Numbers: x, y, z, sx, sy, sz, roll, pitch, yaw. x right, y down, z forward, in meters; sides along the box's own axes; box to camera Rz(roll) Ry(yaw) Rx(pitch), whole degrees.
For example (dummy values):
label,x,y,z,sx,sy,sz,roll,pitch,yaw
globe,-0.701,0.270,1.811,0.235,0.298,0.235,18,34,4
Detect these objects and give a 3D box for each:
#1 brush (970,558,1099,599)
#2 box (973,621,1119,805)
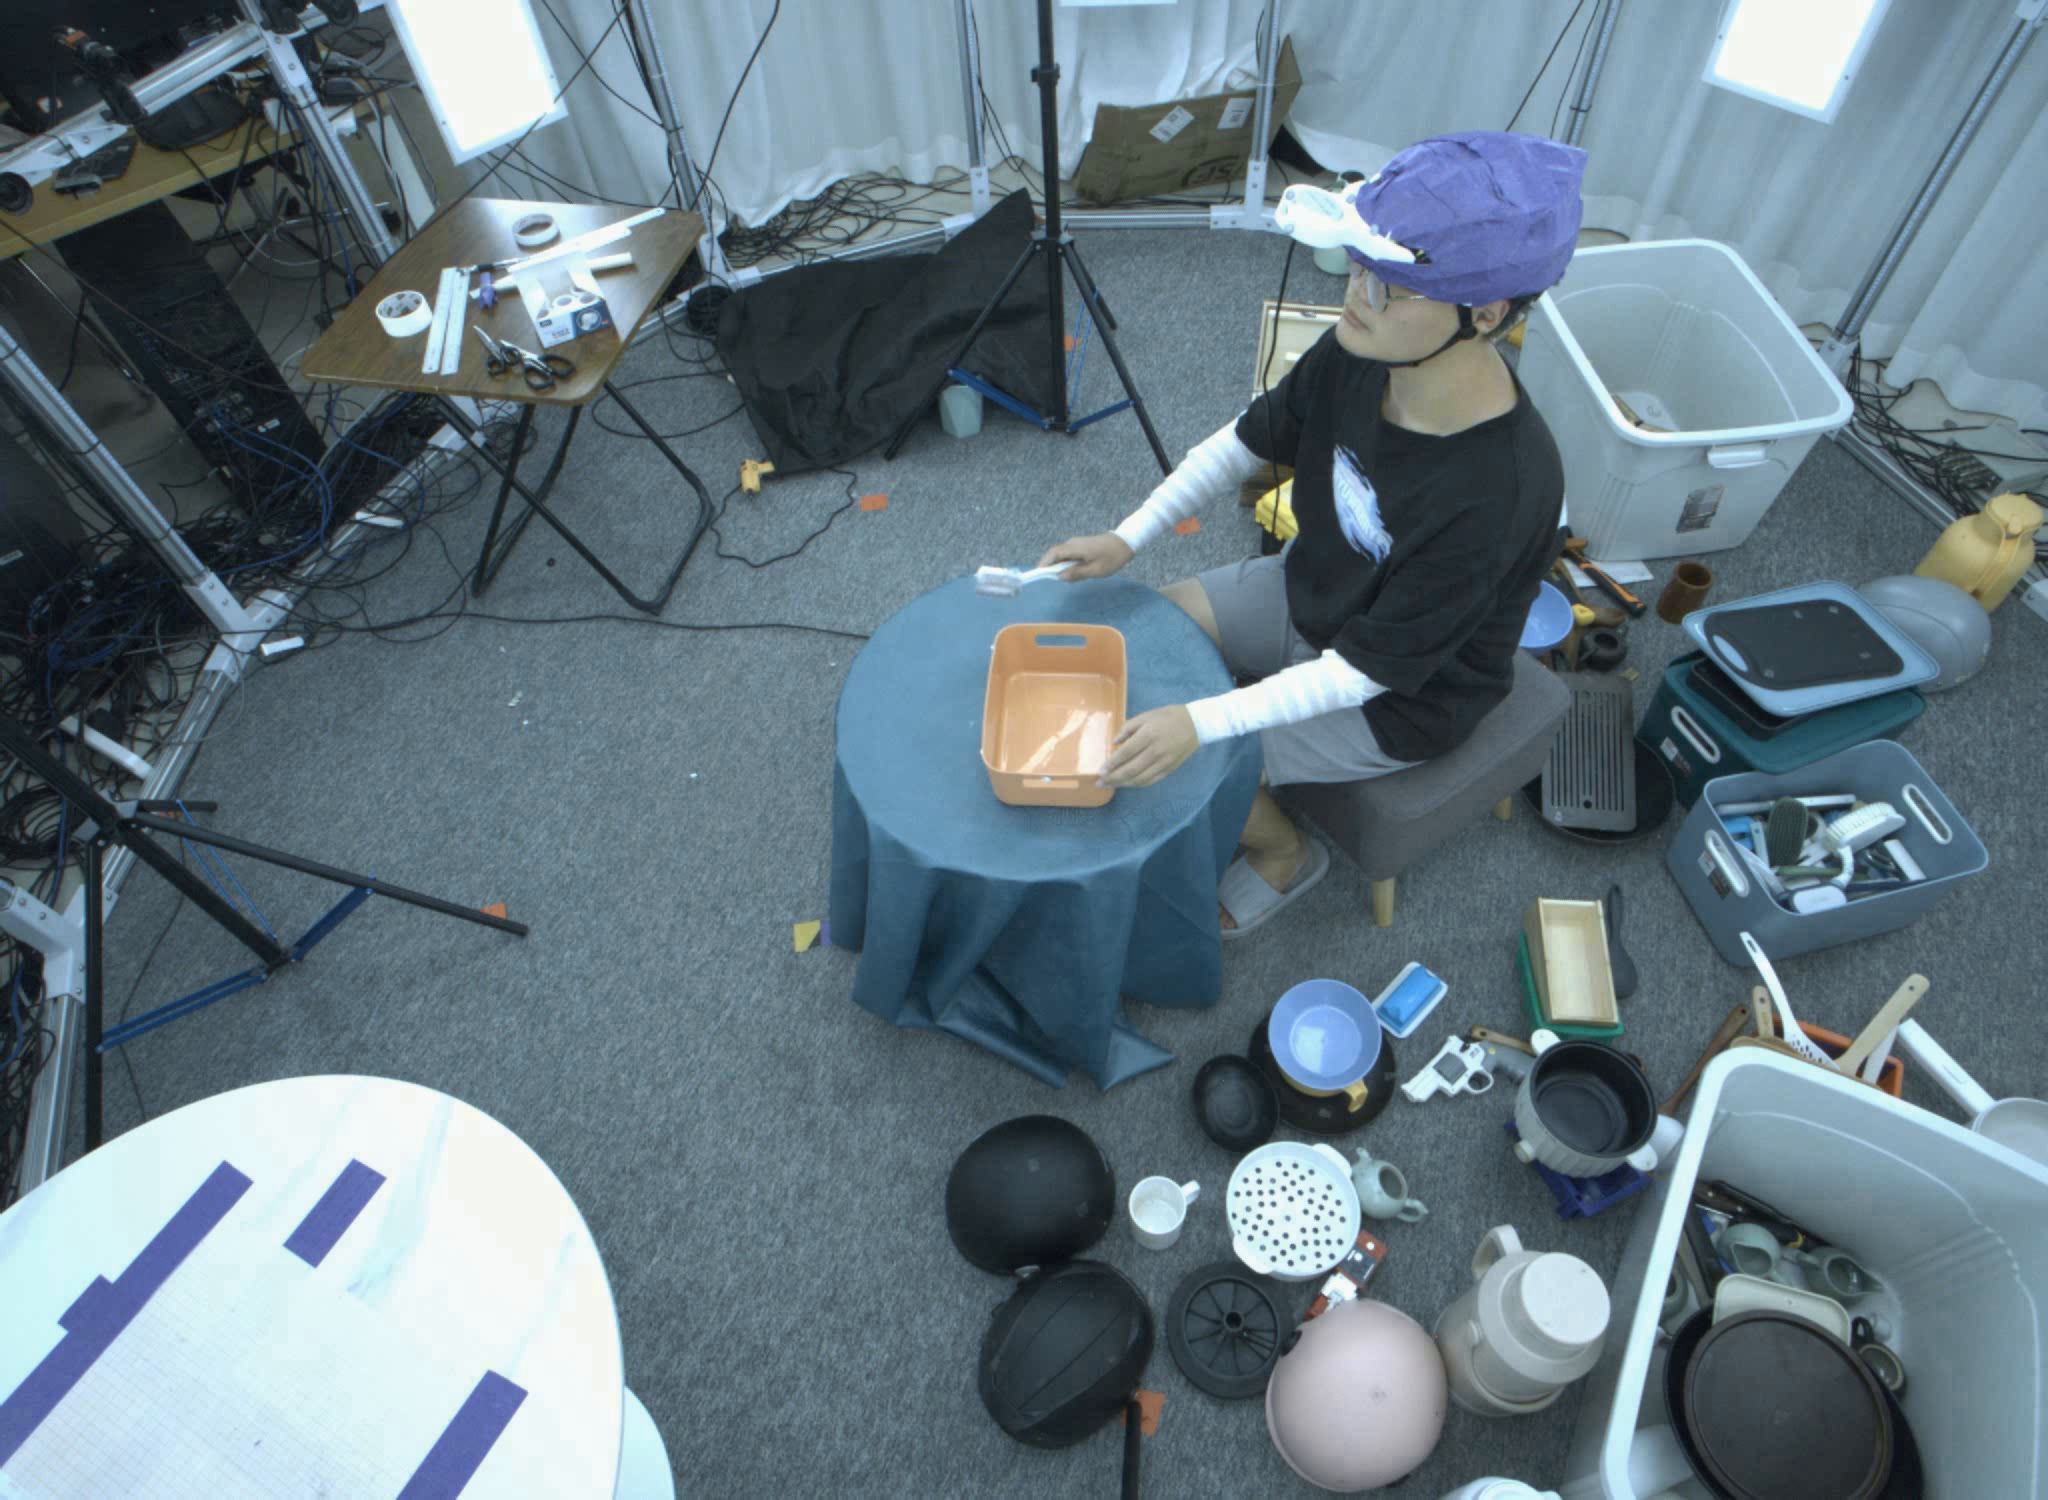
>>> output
label,x,y,z,sx,sy,sz,roll,pitch,yaw
brush,0.023,-0.260,1.852,0.248,0.034,0.049,-10,58,-35
box,0.036,-0.049,1.746,0.199,0.104,0.270,1,55,4
